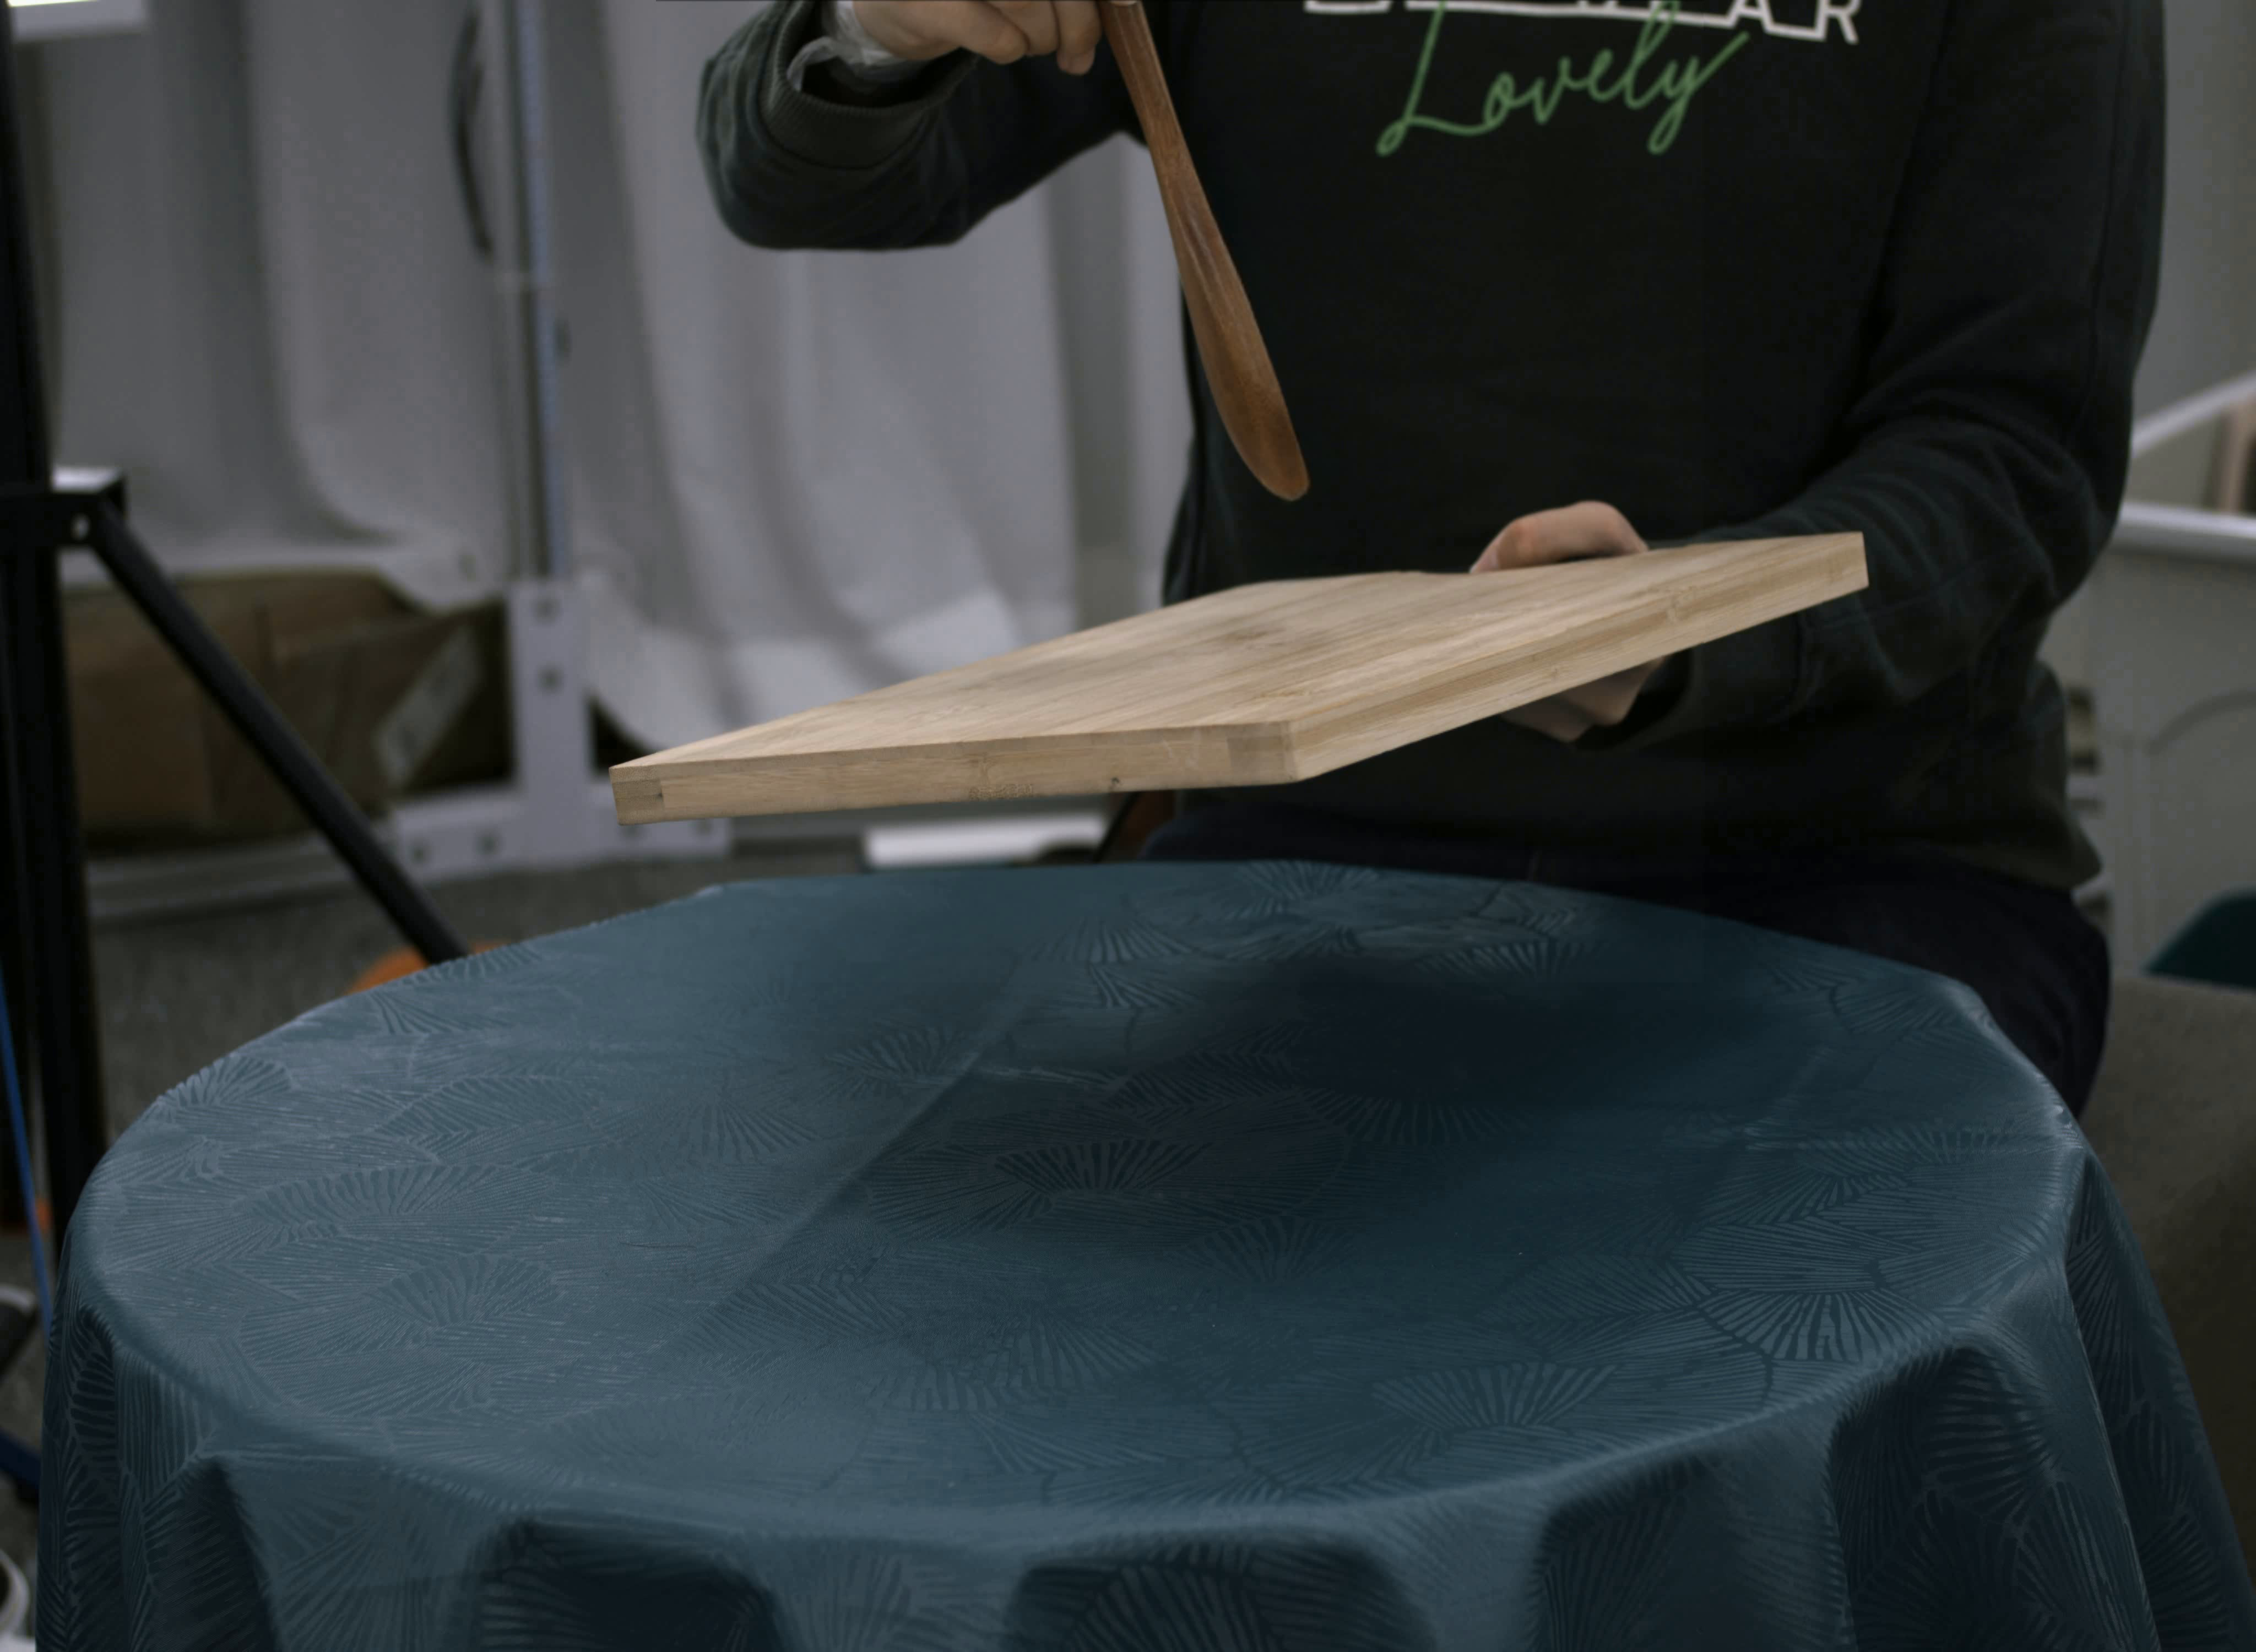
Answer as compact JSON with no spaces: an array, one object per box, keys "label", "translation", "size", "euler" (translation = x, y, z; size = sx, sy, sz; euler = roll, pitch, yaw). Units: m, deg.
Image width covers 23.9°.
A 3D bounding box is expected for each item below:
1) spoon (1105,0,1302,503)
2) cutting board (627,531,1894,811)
[{"label":"spoon","translation":[0.015,-0.199,1.614],"size":[0.017,0.217,0.075],"euler":[-17,-1,0]},{"label":"cutting board","translation":[0.046,-0.047,1.615],"size":[0.255,0.023,0.341],"euler":[-3,10,35]}]
